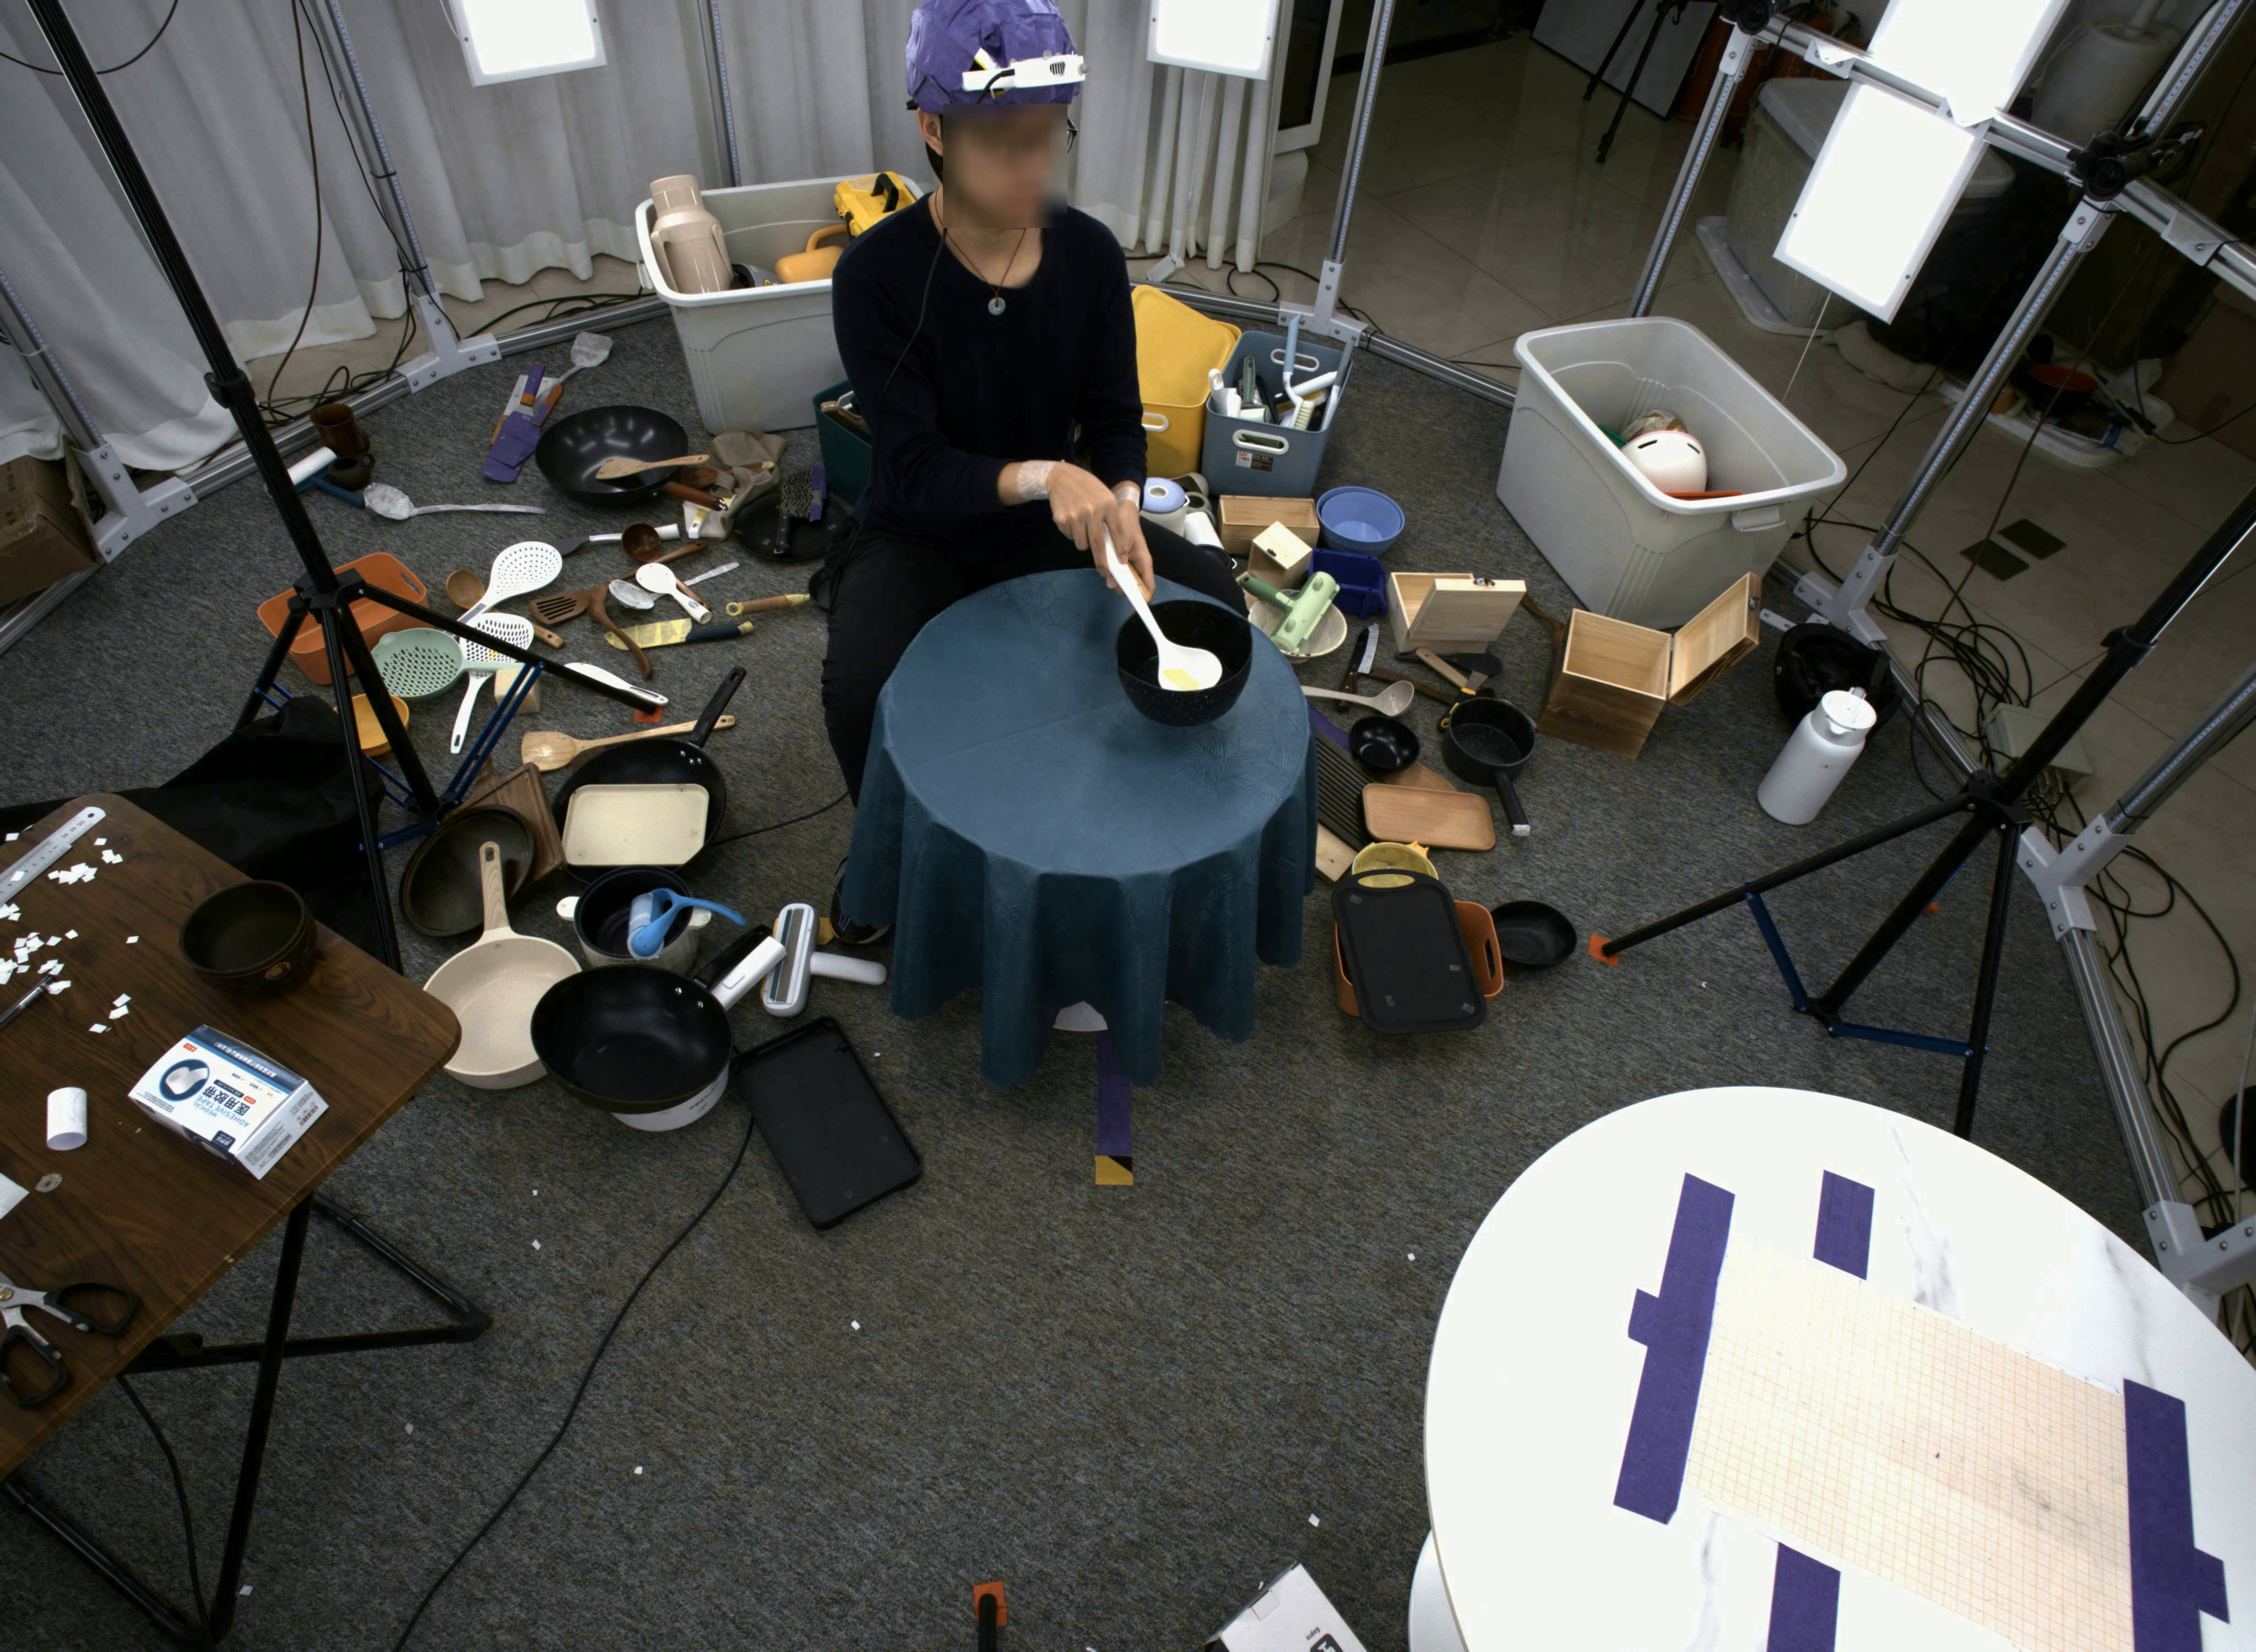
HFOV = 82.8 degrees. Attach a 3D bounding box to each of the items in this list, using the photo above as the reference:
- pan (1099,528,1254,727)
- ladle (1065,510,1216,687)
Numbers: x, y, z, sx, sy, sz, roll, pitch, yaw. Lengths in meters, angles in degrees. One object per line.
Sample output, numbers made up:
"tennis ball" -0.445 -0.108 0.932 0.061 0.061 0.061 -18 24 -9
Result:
"pan" 0.040 -0.277 1.779 0.208 0.105 0.350 -22 52 -15
"ladle" 0.011 -0.298 1.733 0.090 0.070 0.291 -34 96 -6
